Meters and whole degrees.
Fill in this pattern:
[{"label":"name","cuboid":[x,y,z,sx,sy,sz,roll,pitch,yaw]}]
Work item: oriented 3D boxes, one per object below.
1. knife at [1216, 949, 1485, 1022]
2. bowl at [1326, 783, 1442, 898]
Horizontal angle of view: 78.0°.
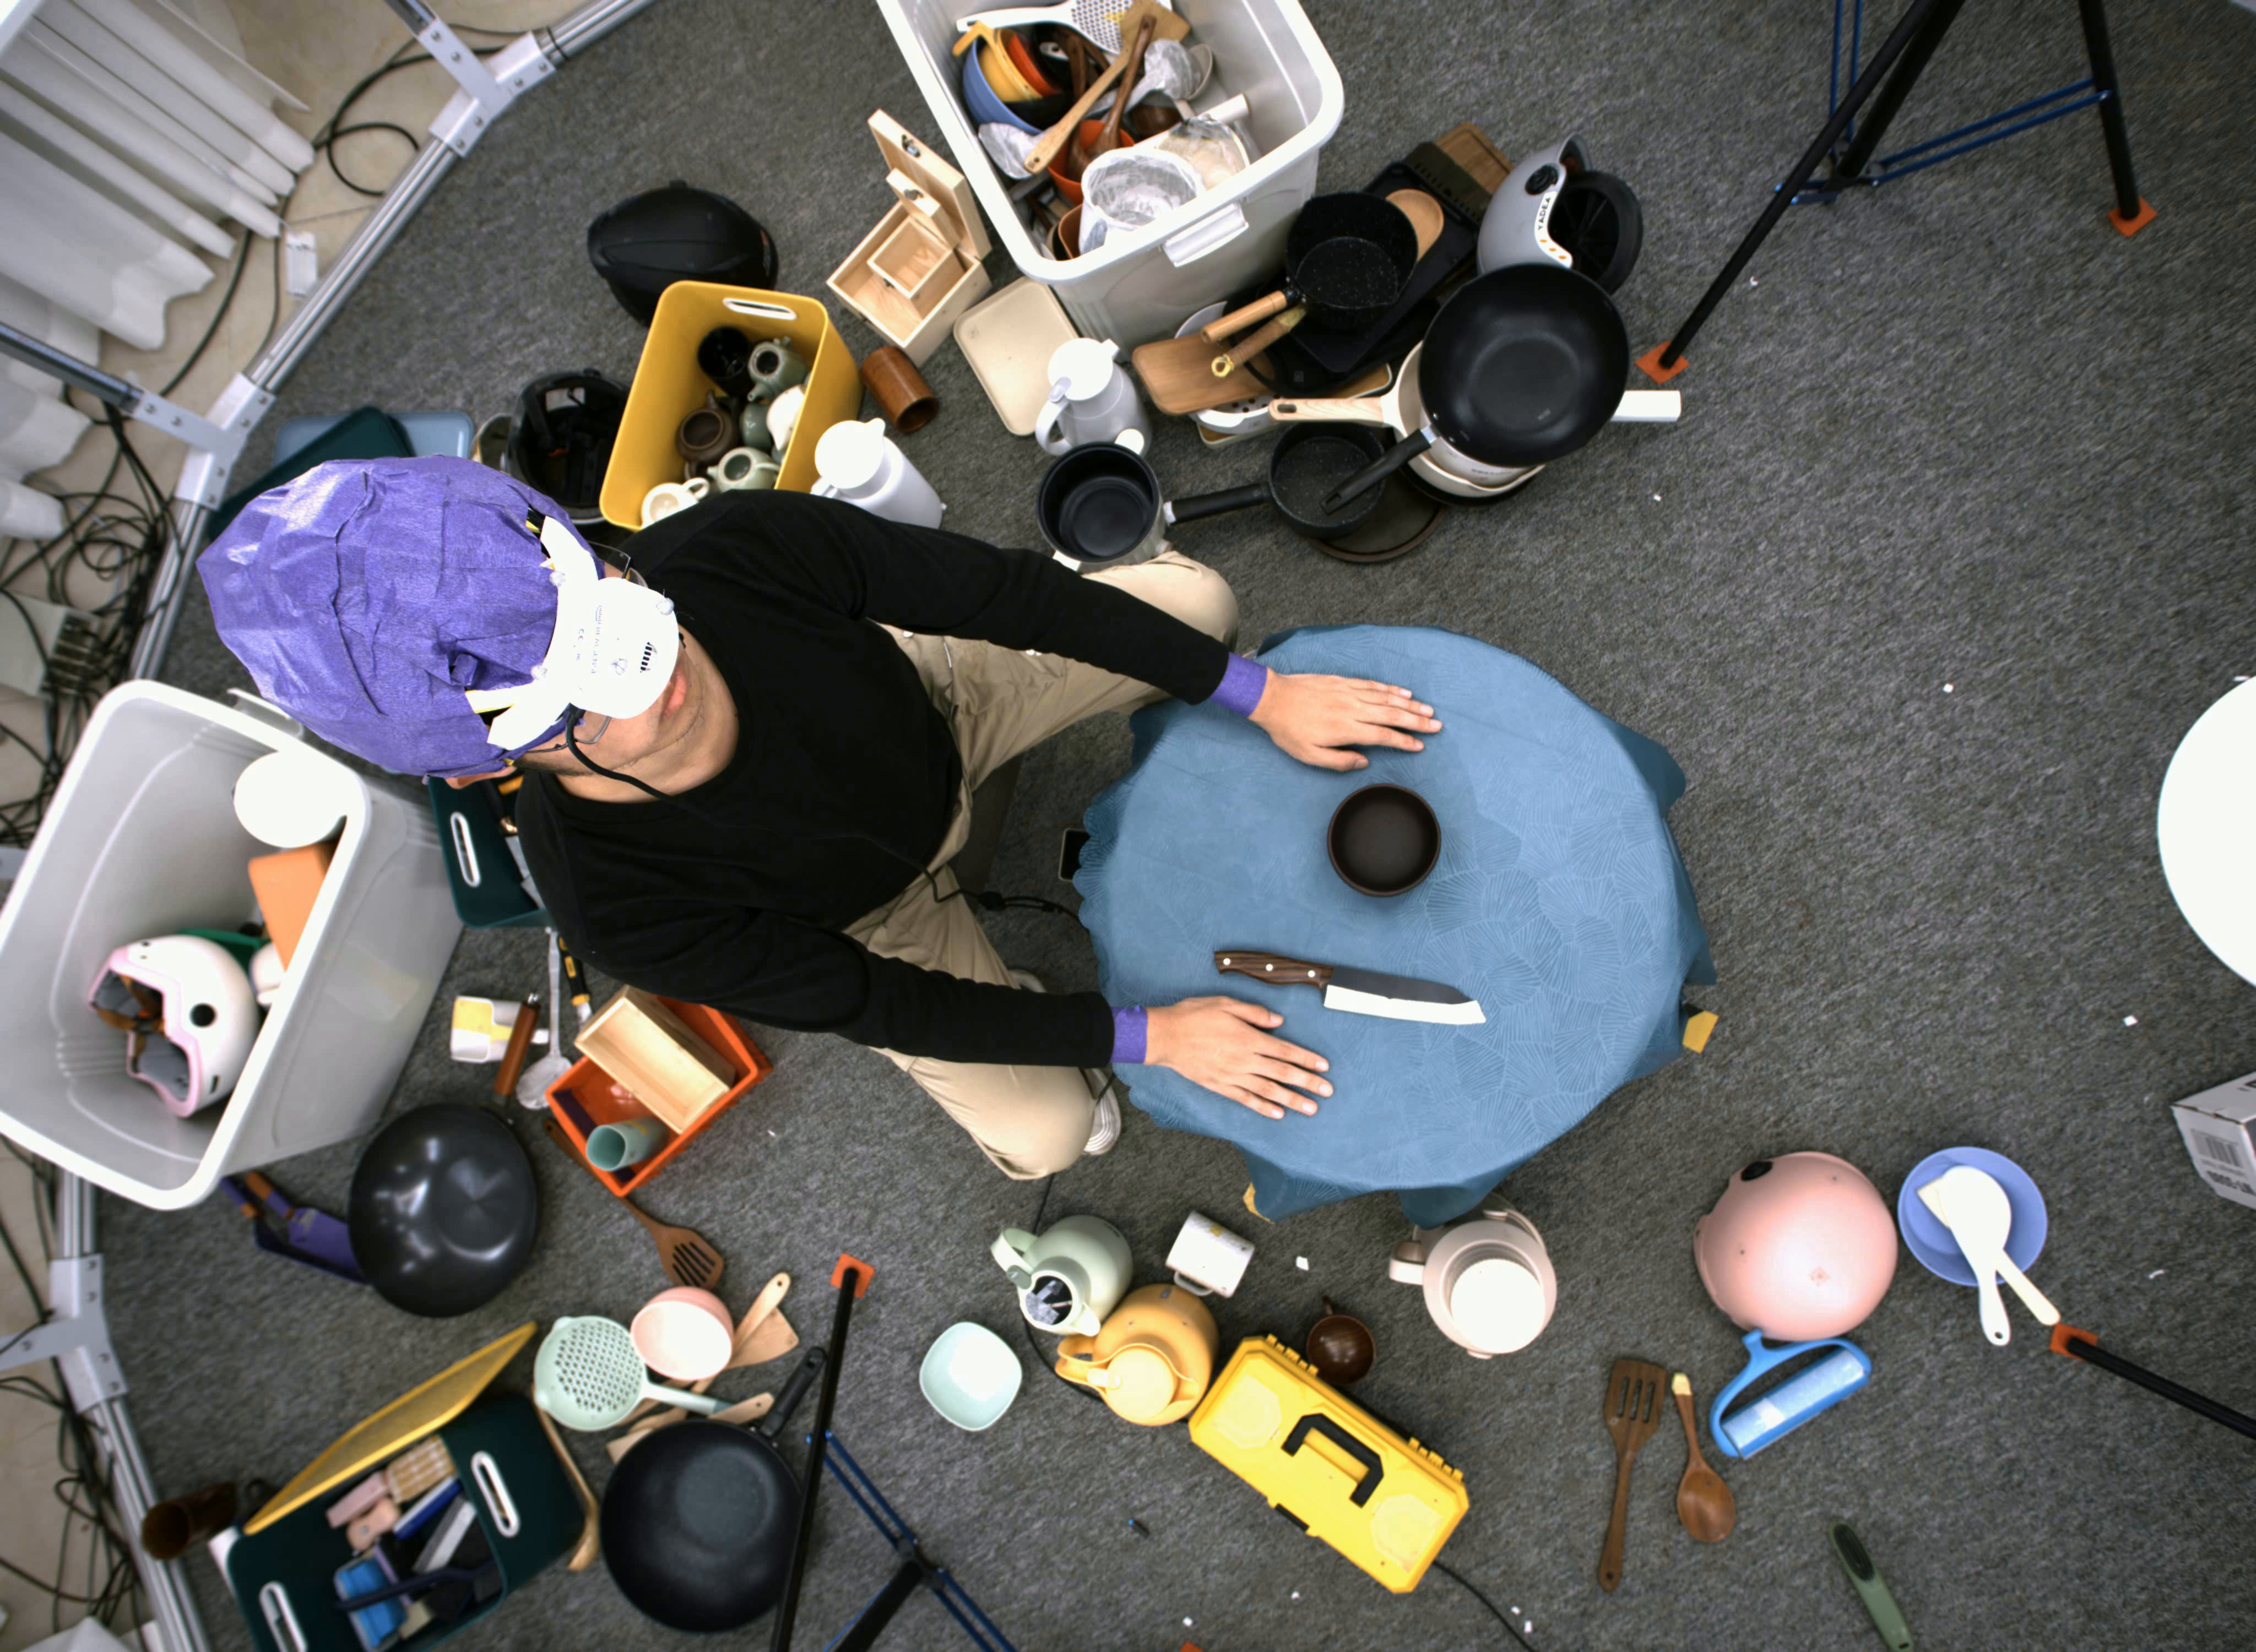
[{"label":"knife","cuboid":[0.233,0.167,1.456,0.289,0.020,0.050,11,93,9]},{"label":"bowl","cuboid":[0.265,0.016,1.428,0.118,0.070,0.117,-1,86,11]}]
